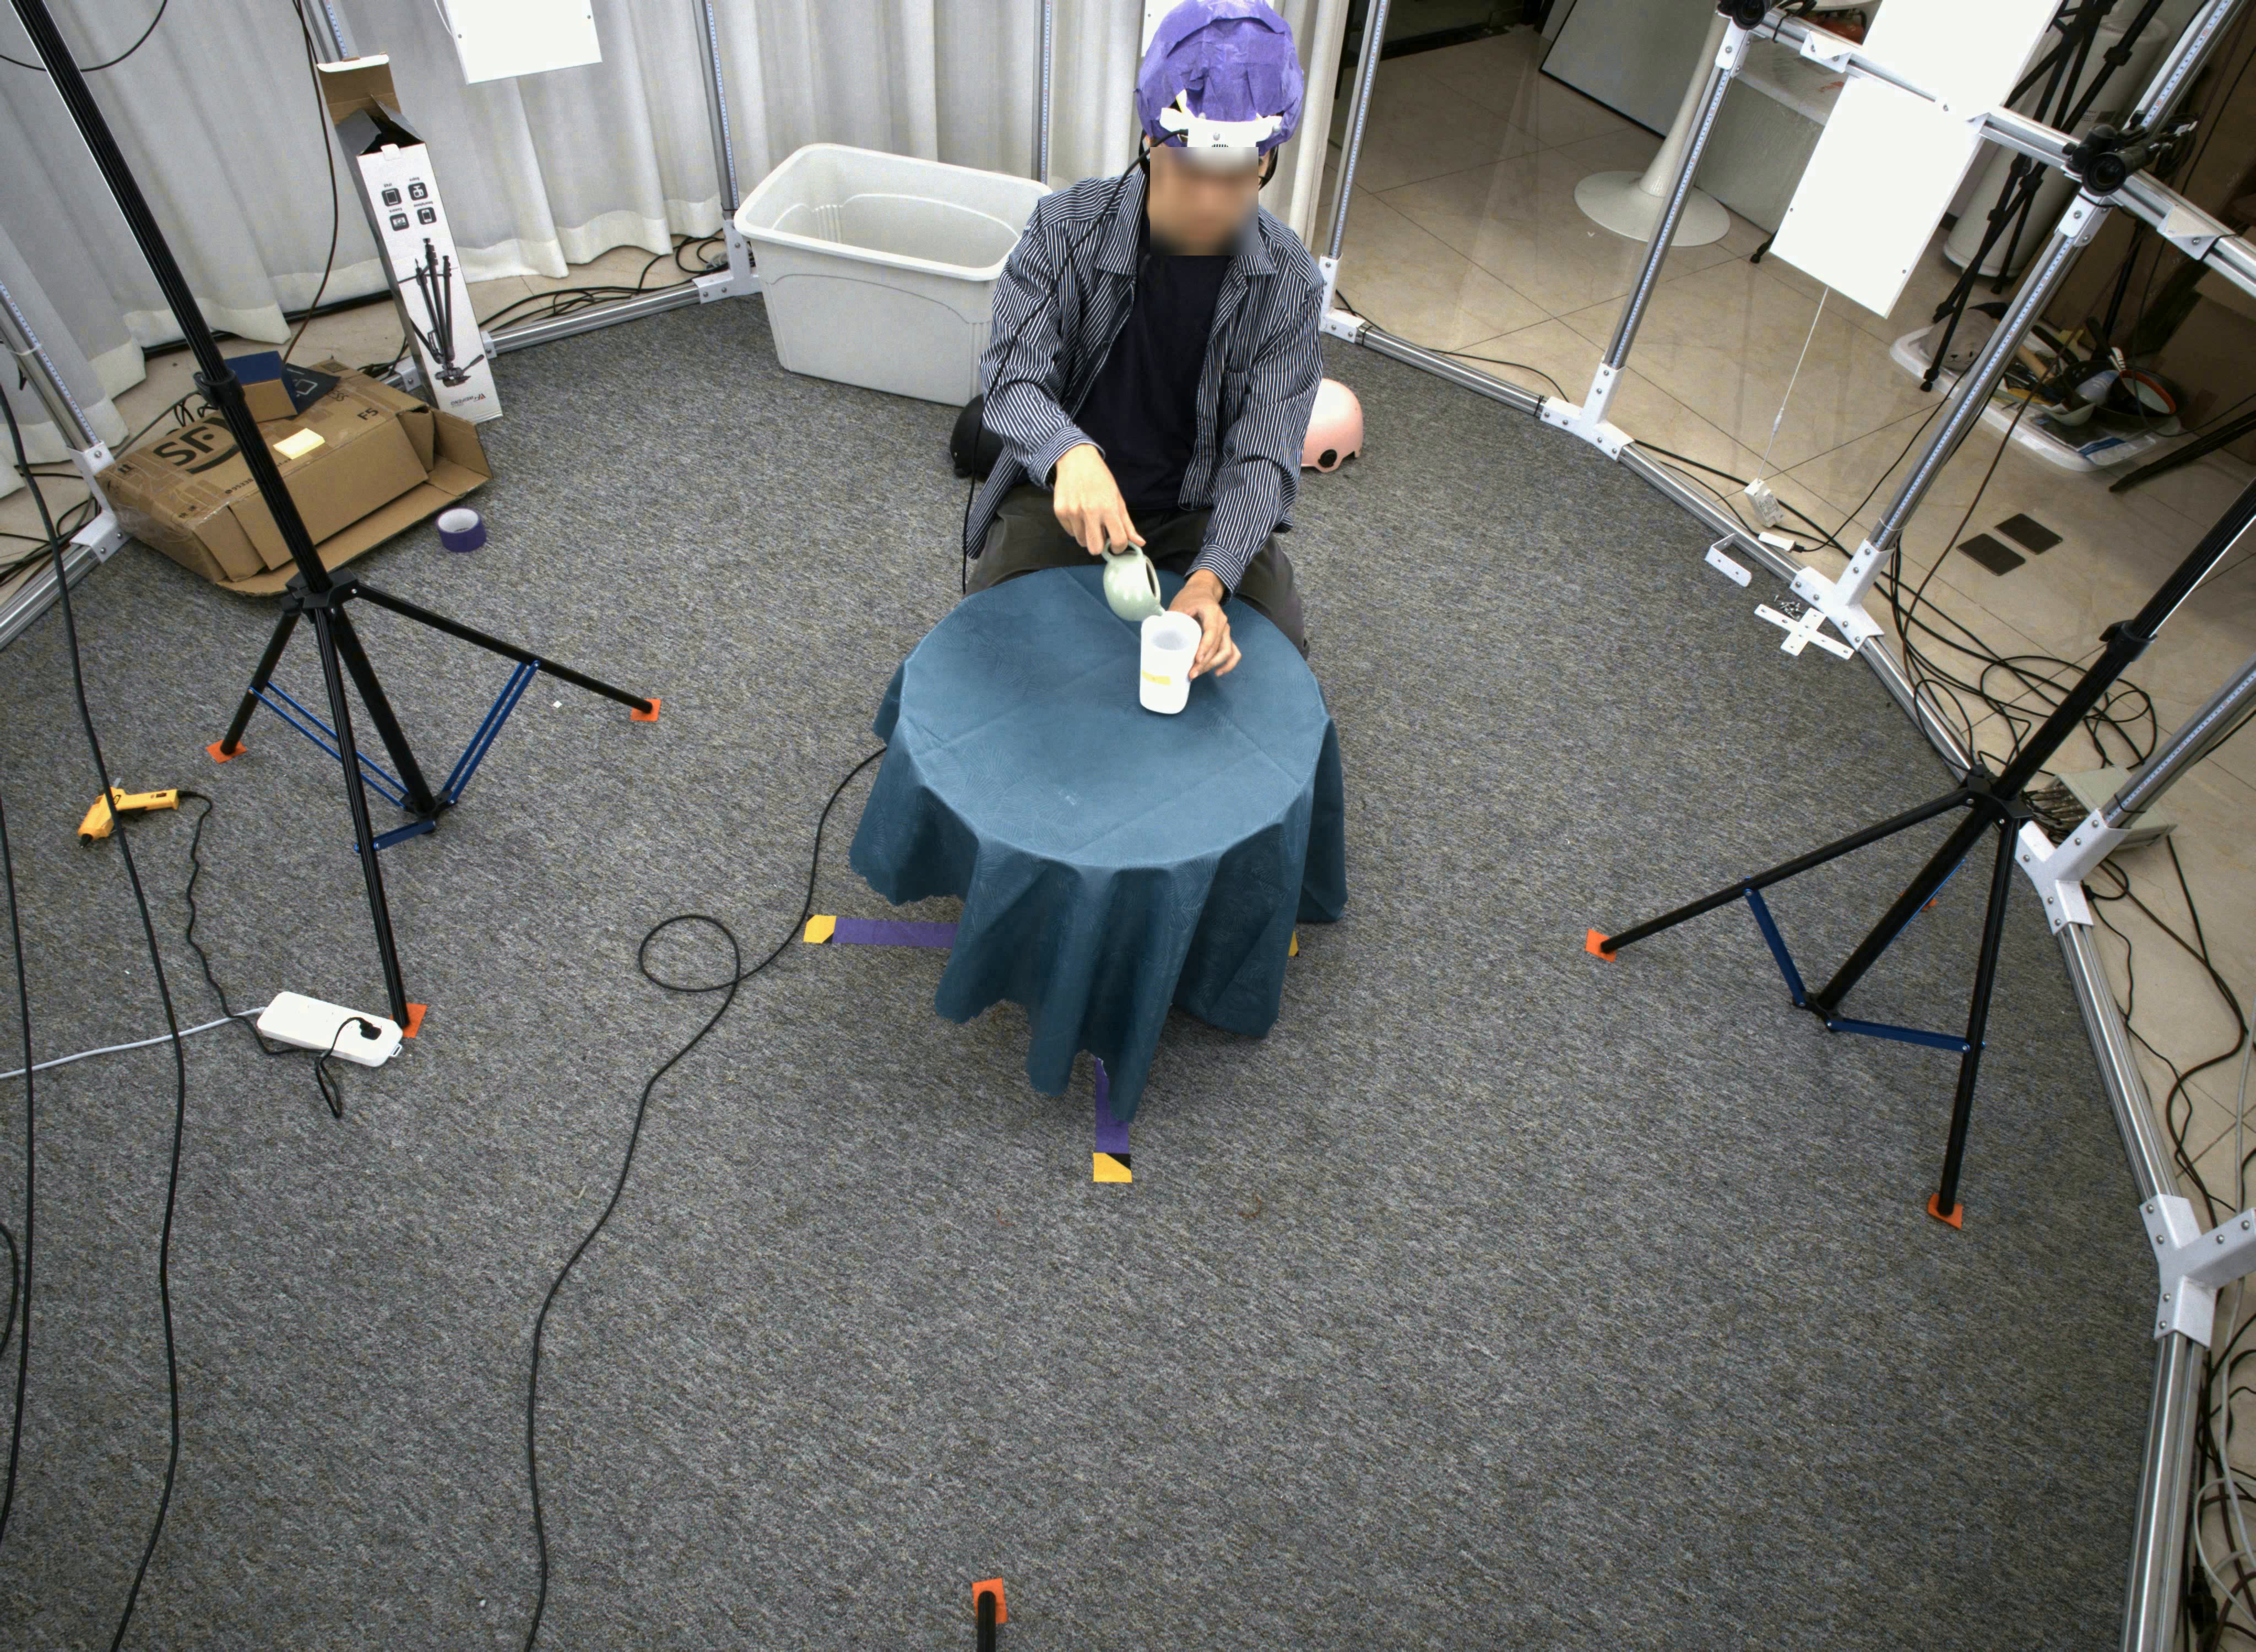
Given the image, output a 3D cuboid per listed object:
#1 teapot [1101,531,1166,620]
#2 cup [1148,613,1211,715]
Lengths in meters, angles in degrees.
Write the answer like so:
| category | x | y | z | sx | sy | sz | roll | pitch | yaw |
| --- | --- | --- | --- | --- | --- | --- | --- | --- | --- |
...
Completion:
| category | x | y | z | sx | sy | sz | roll | pitch | yaw |
| --- | --- | --- | --- | --- | --- | --- | --- | --- | --- |
| teapot | 0.002 | -0.320 | 1.656 | 0.061 | 0.126 | 0.093 | -14 | 30 | 15 |
| cup | 0.066 | -0.220 | 1.764 | 0.081 | 0.122 | 0.084 | 2 | 49 | -3 |
